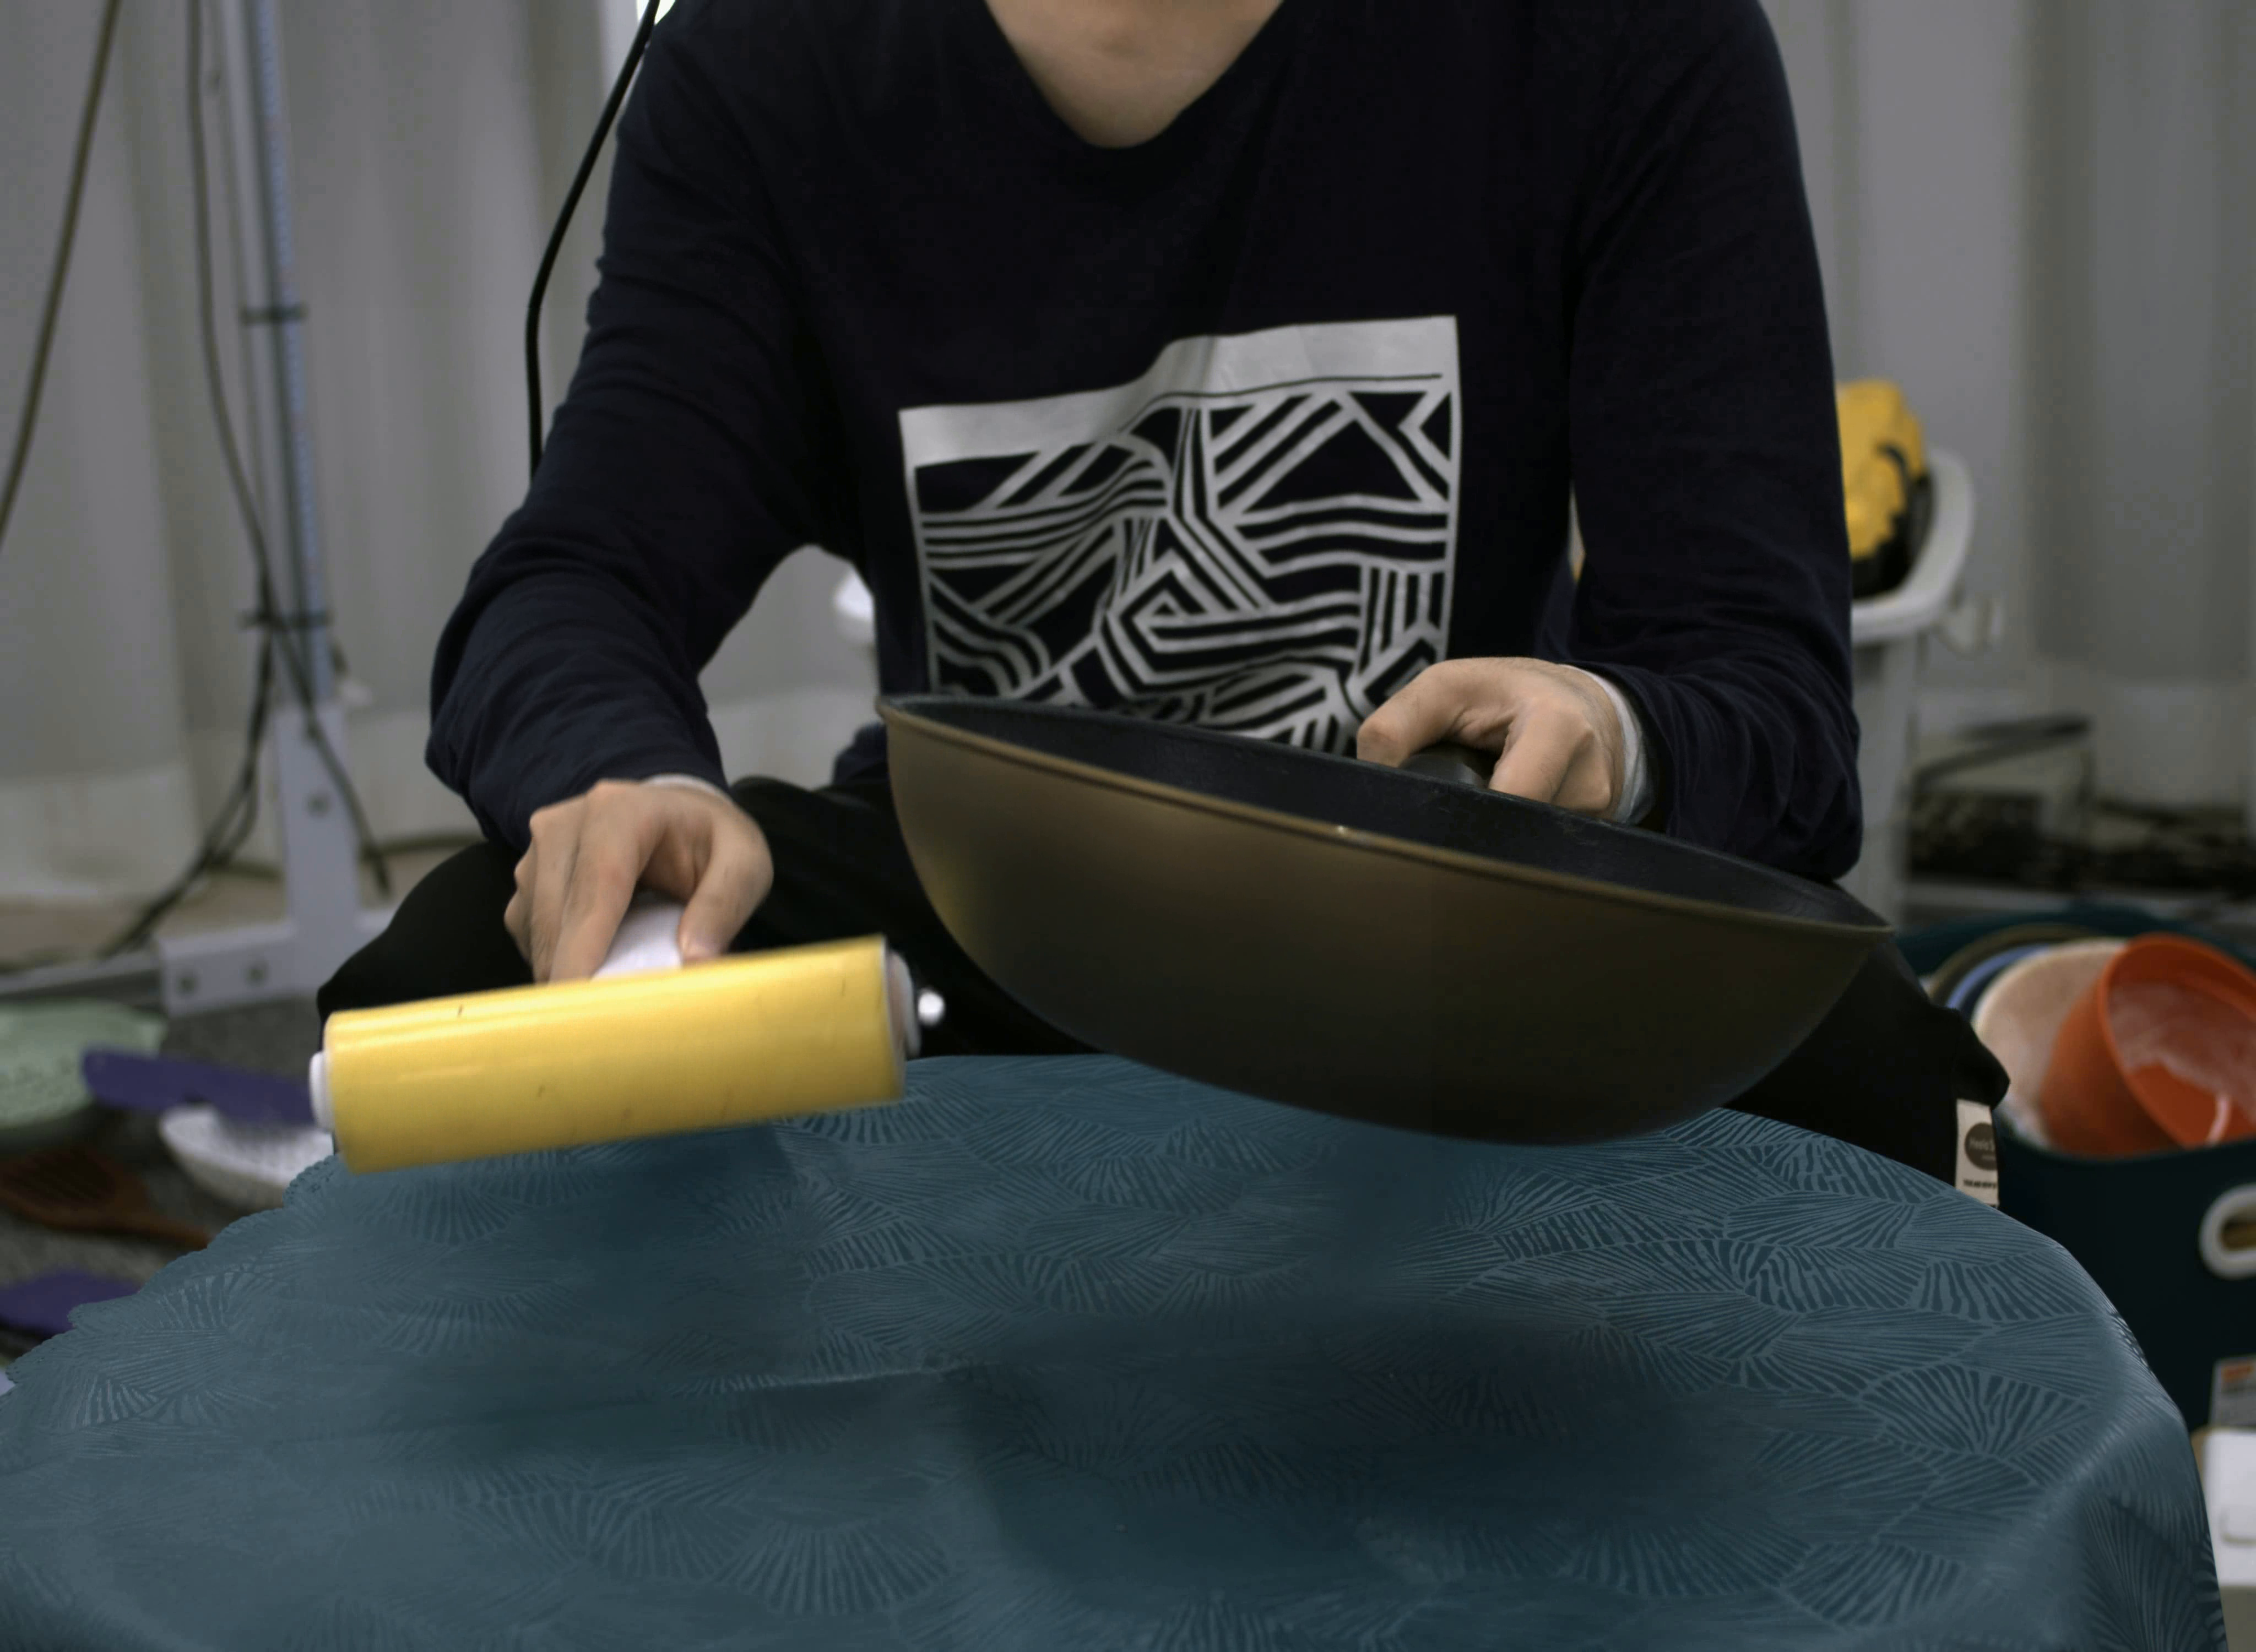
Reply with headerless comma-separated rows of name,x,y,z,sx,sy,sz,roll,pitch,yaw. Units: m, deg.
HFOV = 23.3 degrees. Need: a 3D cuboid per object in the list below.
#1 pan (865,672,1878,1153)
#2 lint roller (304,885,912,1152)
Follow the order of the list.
pan,0.070,0.024,1.593,0.288,0.087,0.463,15,5,7
lint roller,-0.150,0.037,1.633,0.174,0.051,0.194,-9,20,1
